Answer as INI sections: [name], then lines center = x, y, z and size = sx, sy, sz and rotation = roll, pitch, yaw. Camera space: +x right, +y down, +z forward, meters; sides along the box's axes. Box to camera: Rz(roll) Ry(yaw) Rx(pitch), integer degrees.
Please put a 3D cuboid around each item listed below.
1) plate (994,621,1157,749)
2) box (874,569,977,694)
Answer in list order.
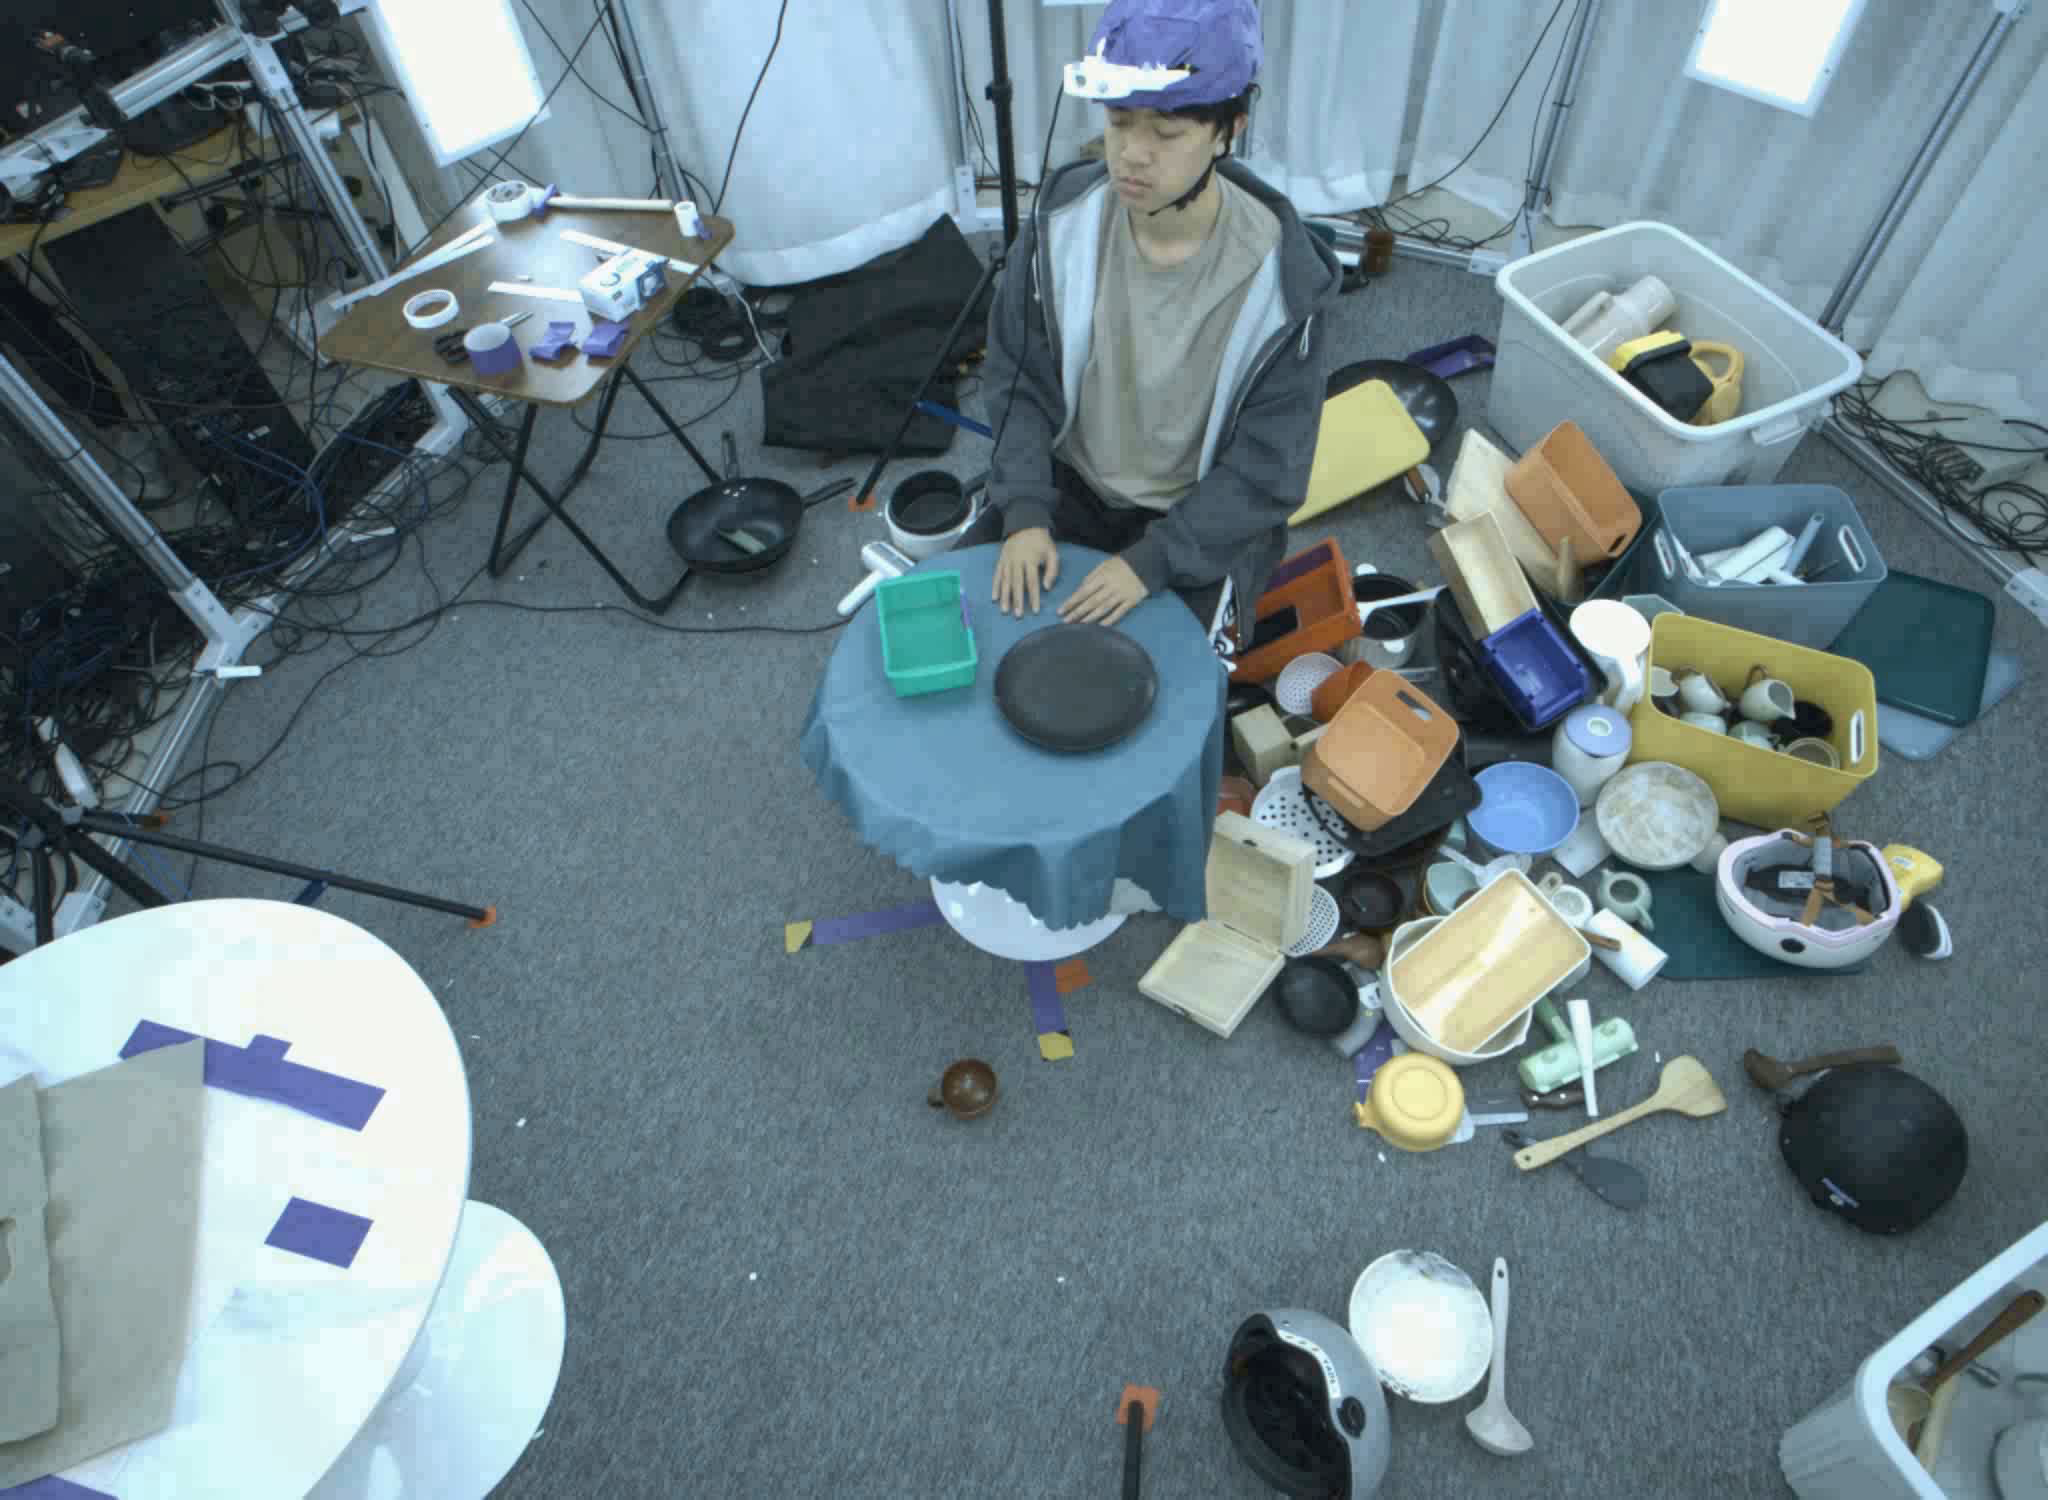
[plate]
center = 0.077, -0.095, 1.841
size = 0.244, 0.024, 0.242
rotation = -1, 55, 2
[box]
center = -0.151, -0.180, 1.884
size = 0.139, 0.066, 0.207
rotation = -9, 53, -6
